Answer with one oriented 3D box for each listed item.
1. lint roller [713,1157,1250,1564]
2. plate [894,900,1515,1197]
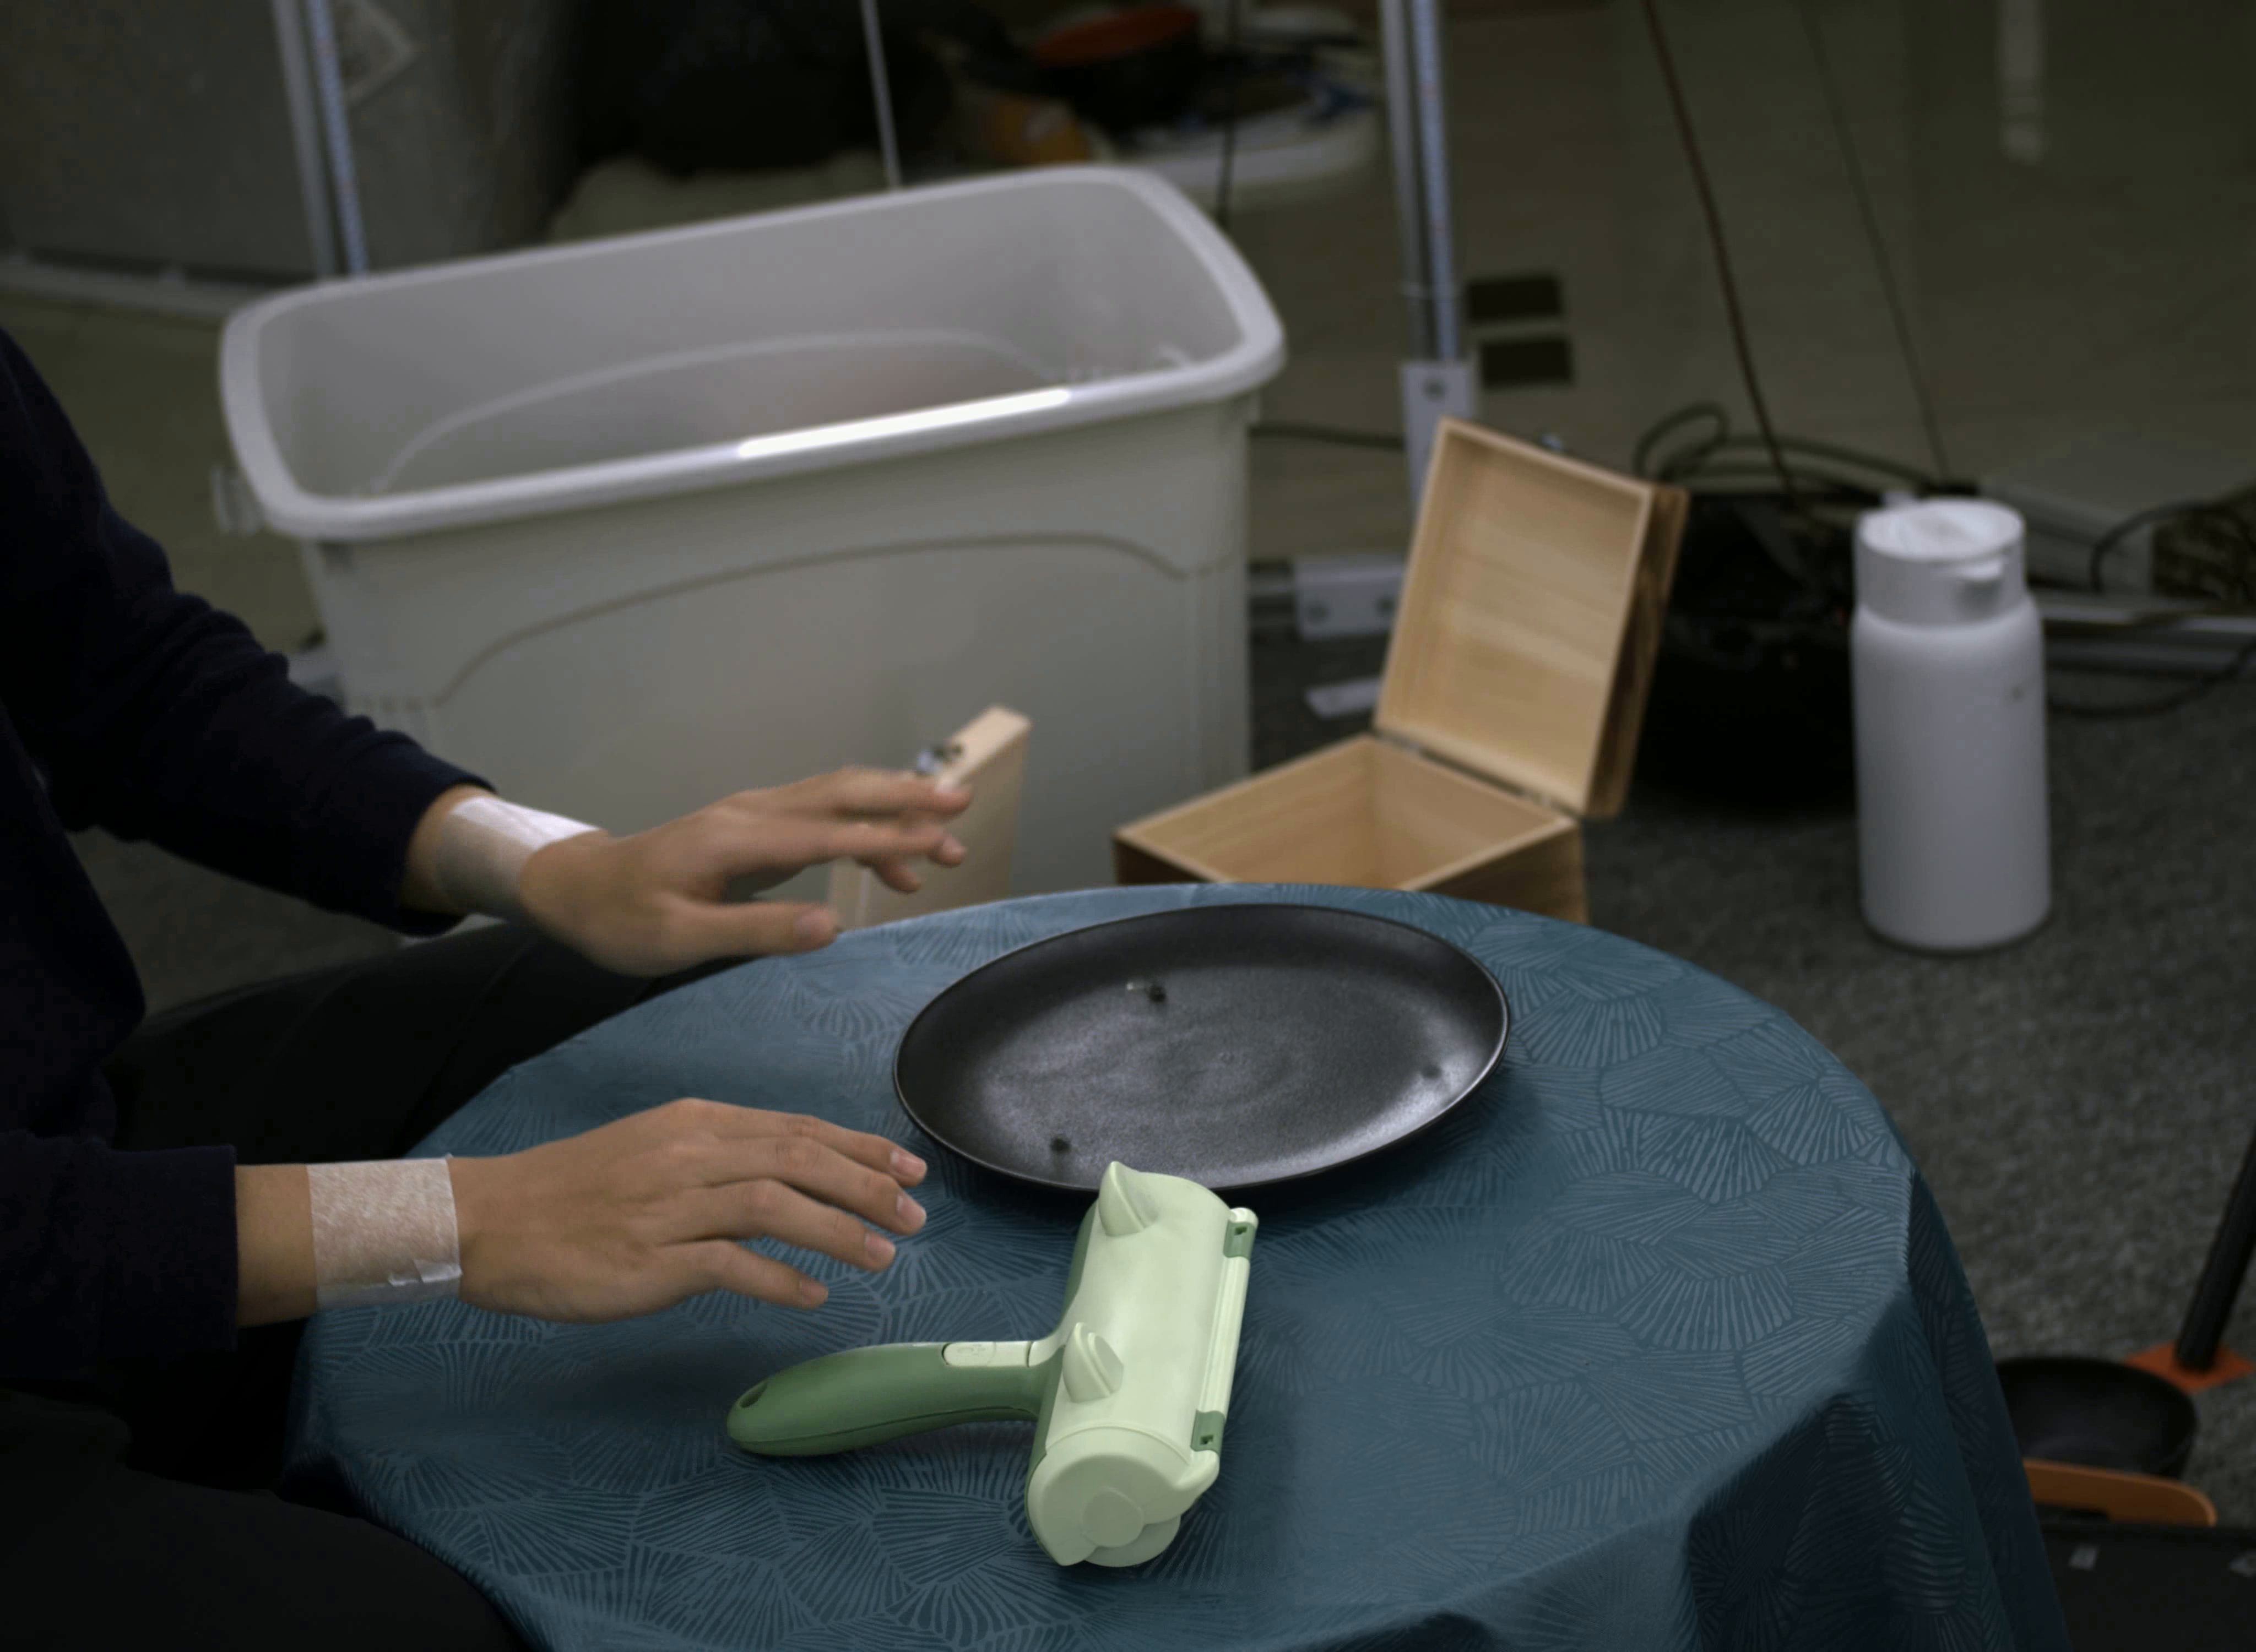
[{"bbox_3d":[-0.054,0.177,1.975,0.183,0.083,0.196,3,25,4],"label":"lint roller"},{"bbox_3d":[0.030,0.092,2.212,0.244,0.024,0.241,-5,25,3],"label":"plate"}]
